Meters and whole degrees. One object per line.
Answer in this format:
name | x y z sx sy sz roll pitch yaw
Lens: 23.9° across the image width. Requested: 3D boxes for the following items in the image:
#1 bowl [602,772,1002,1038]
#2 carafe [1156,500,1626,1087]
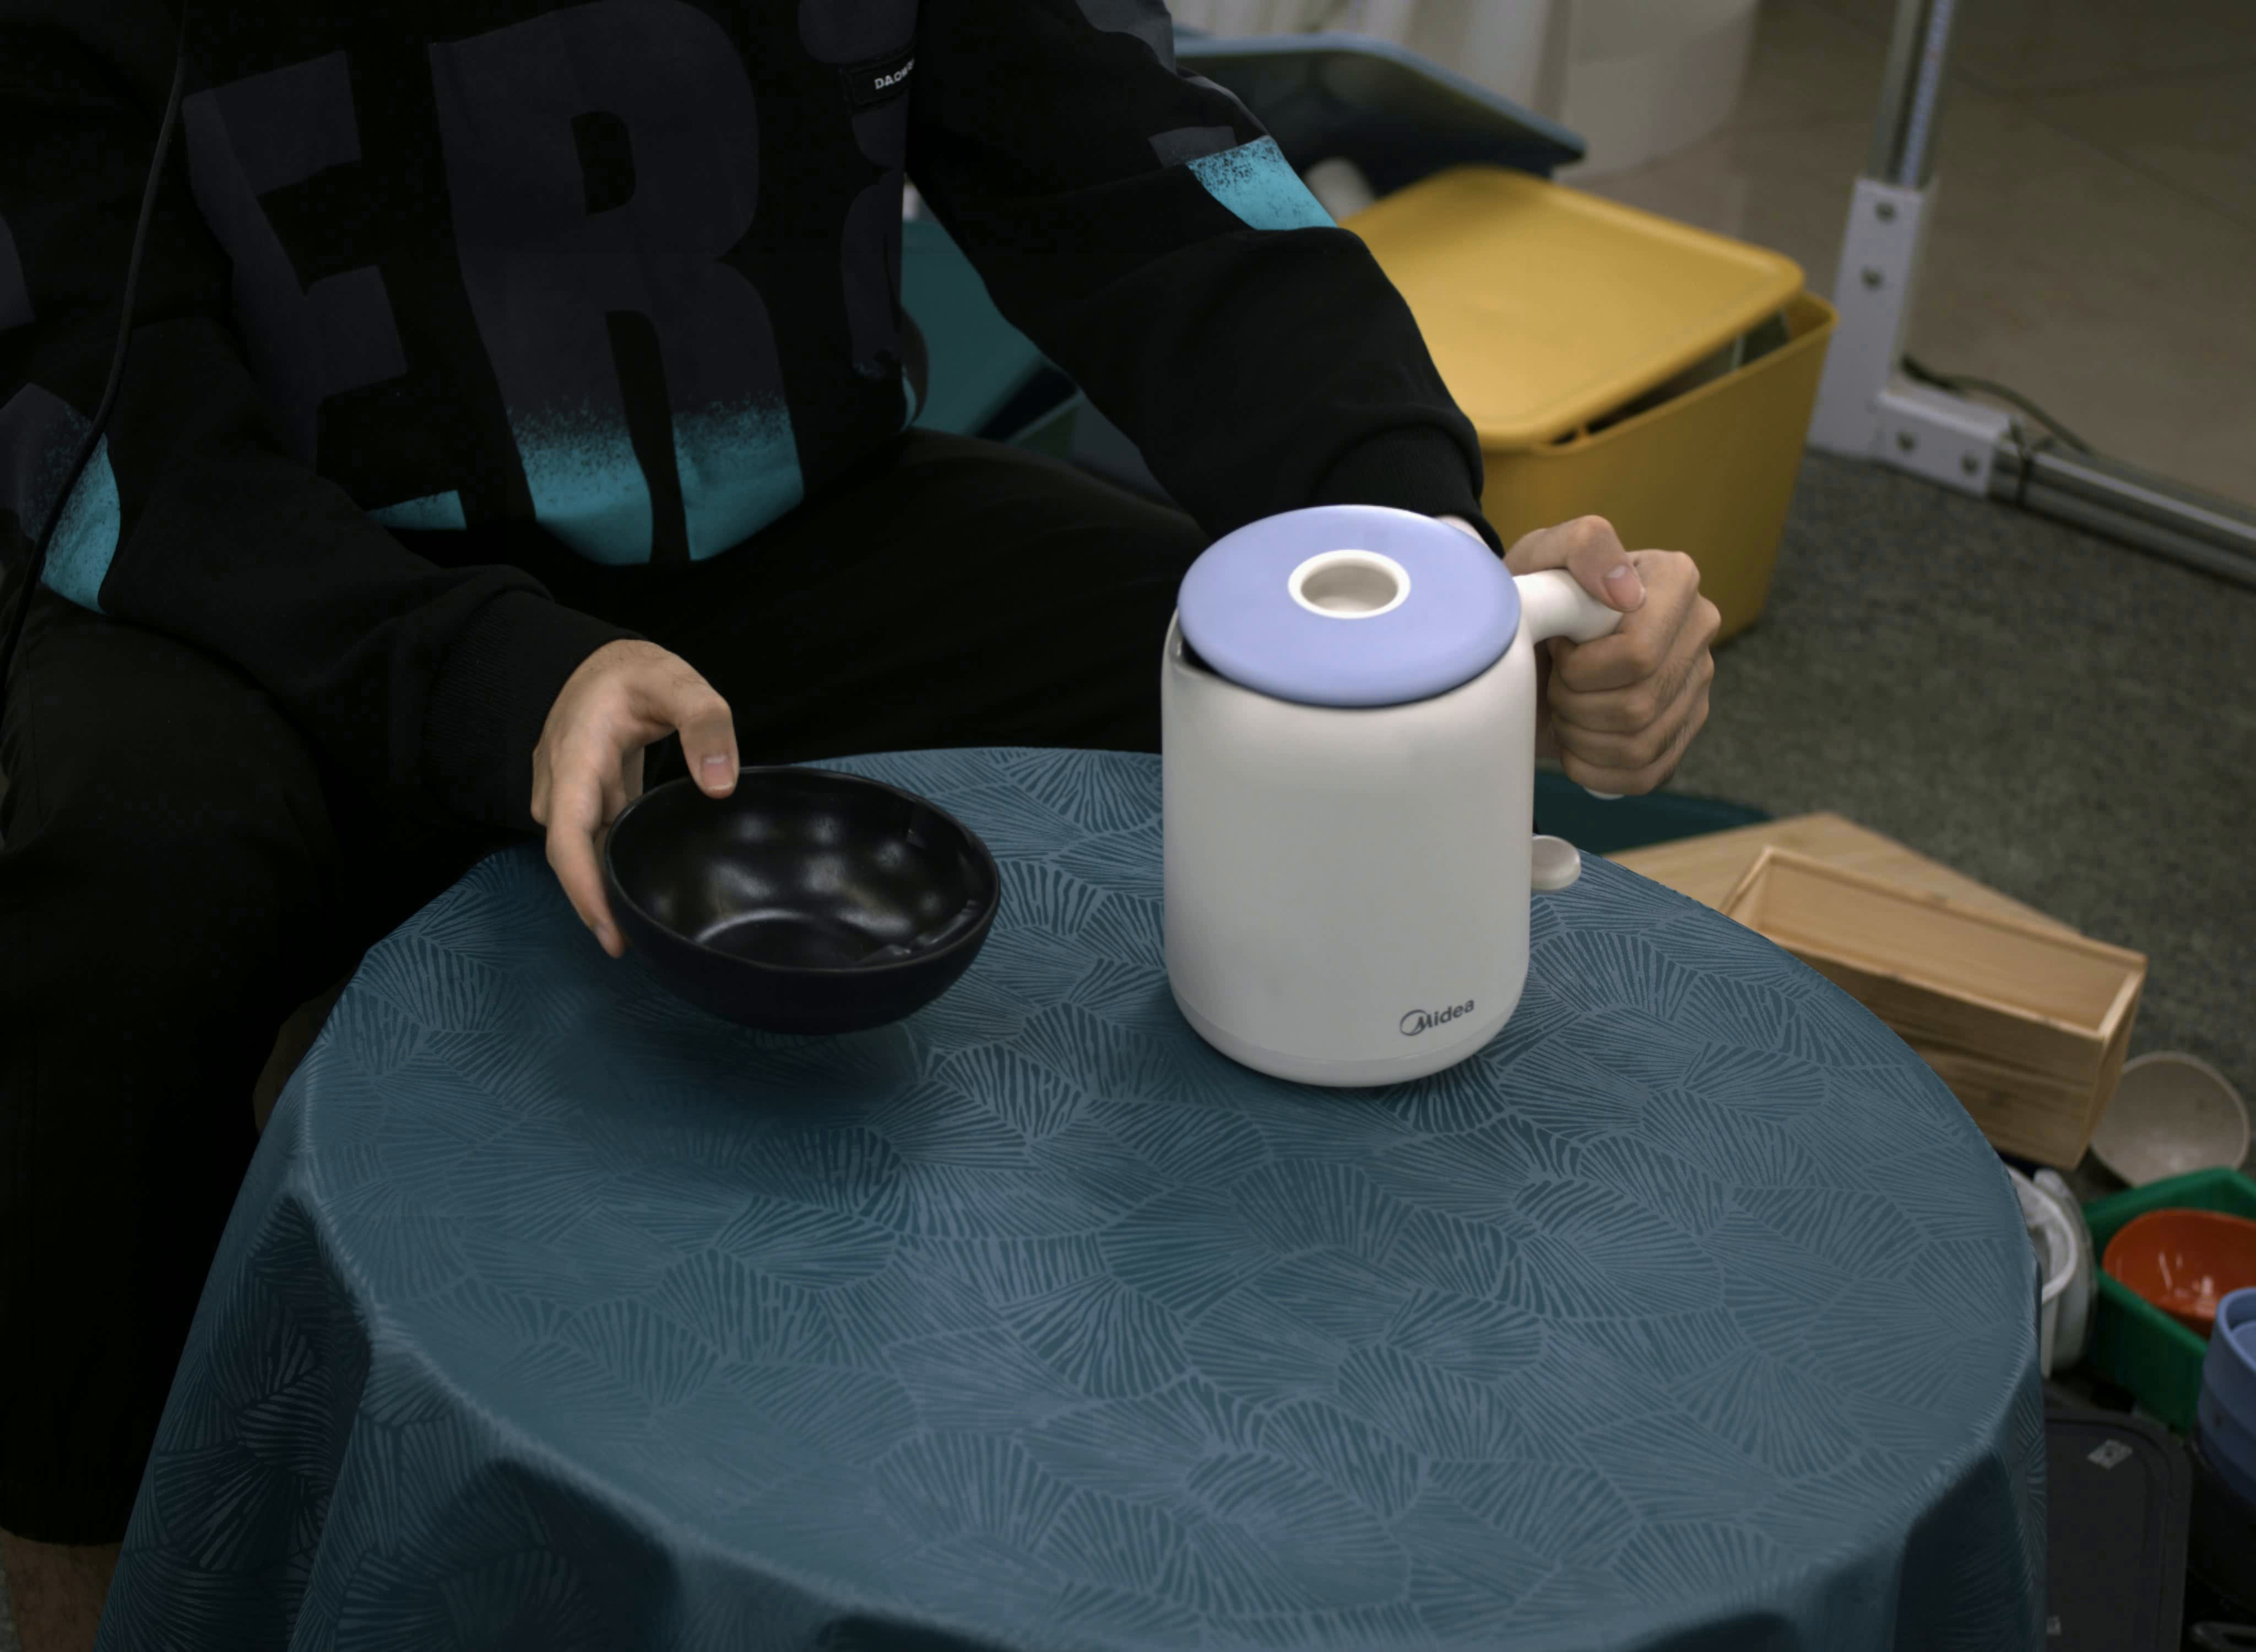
bowl | -0.114 0.035 1.843 0.139 0.049 0.141 6 27 -3
carafe | 0.097 -0.018 1.880 0.190 0.181 0.133 -17 40 -24
